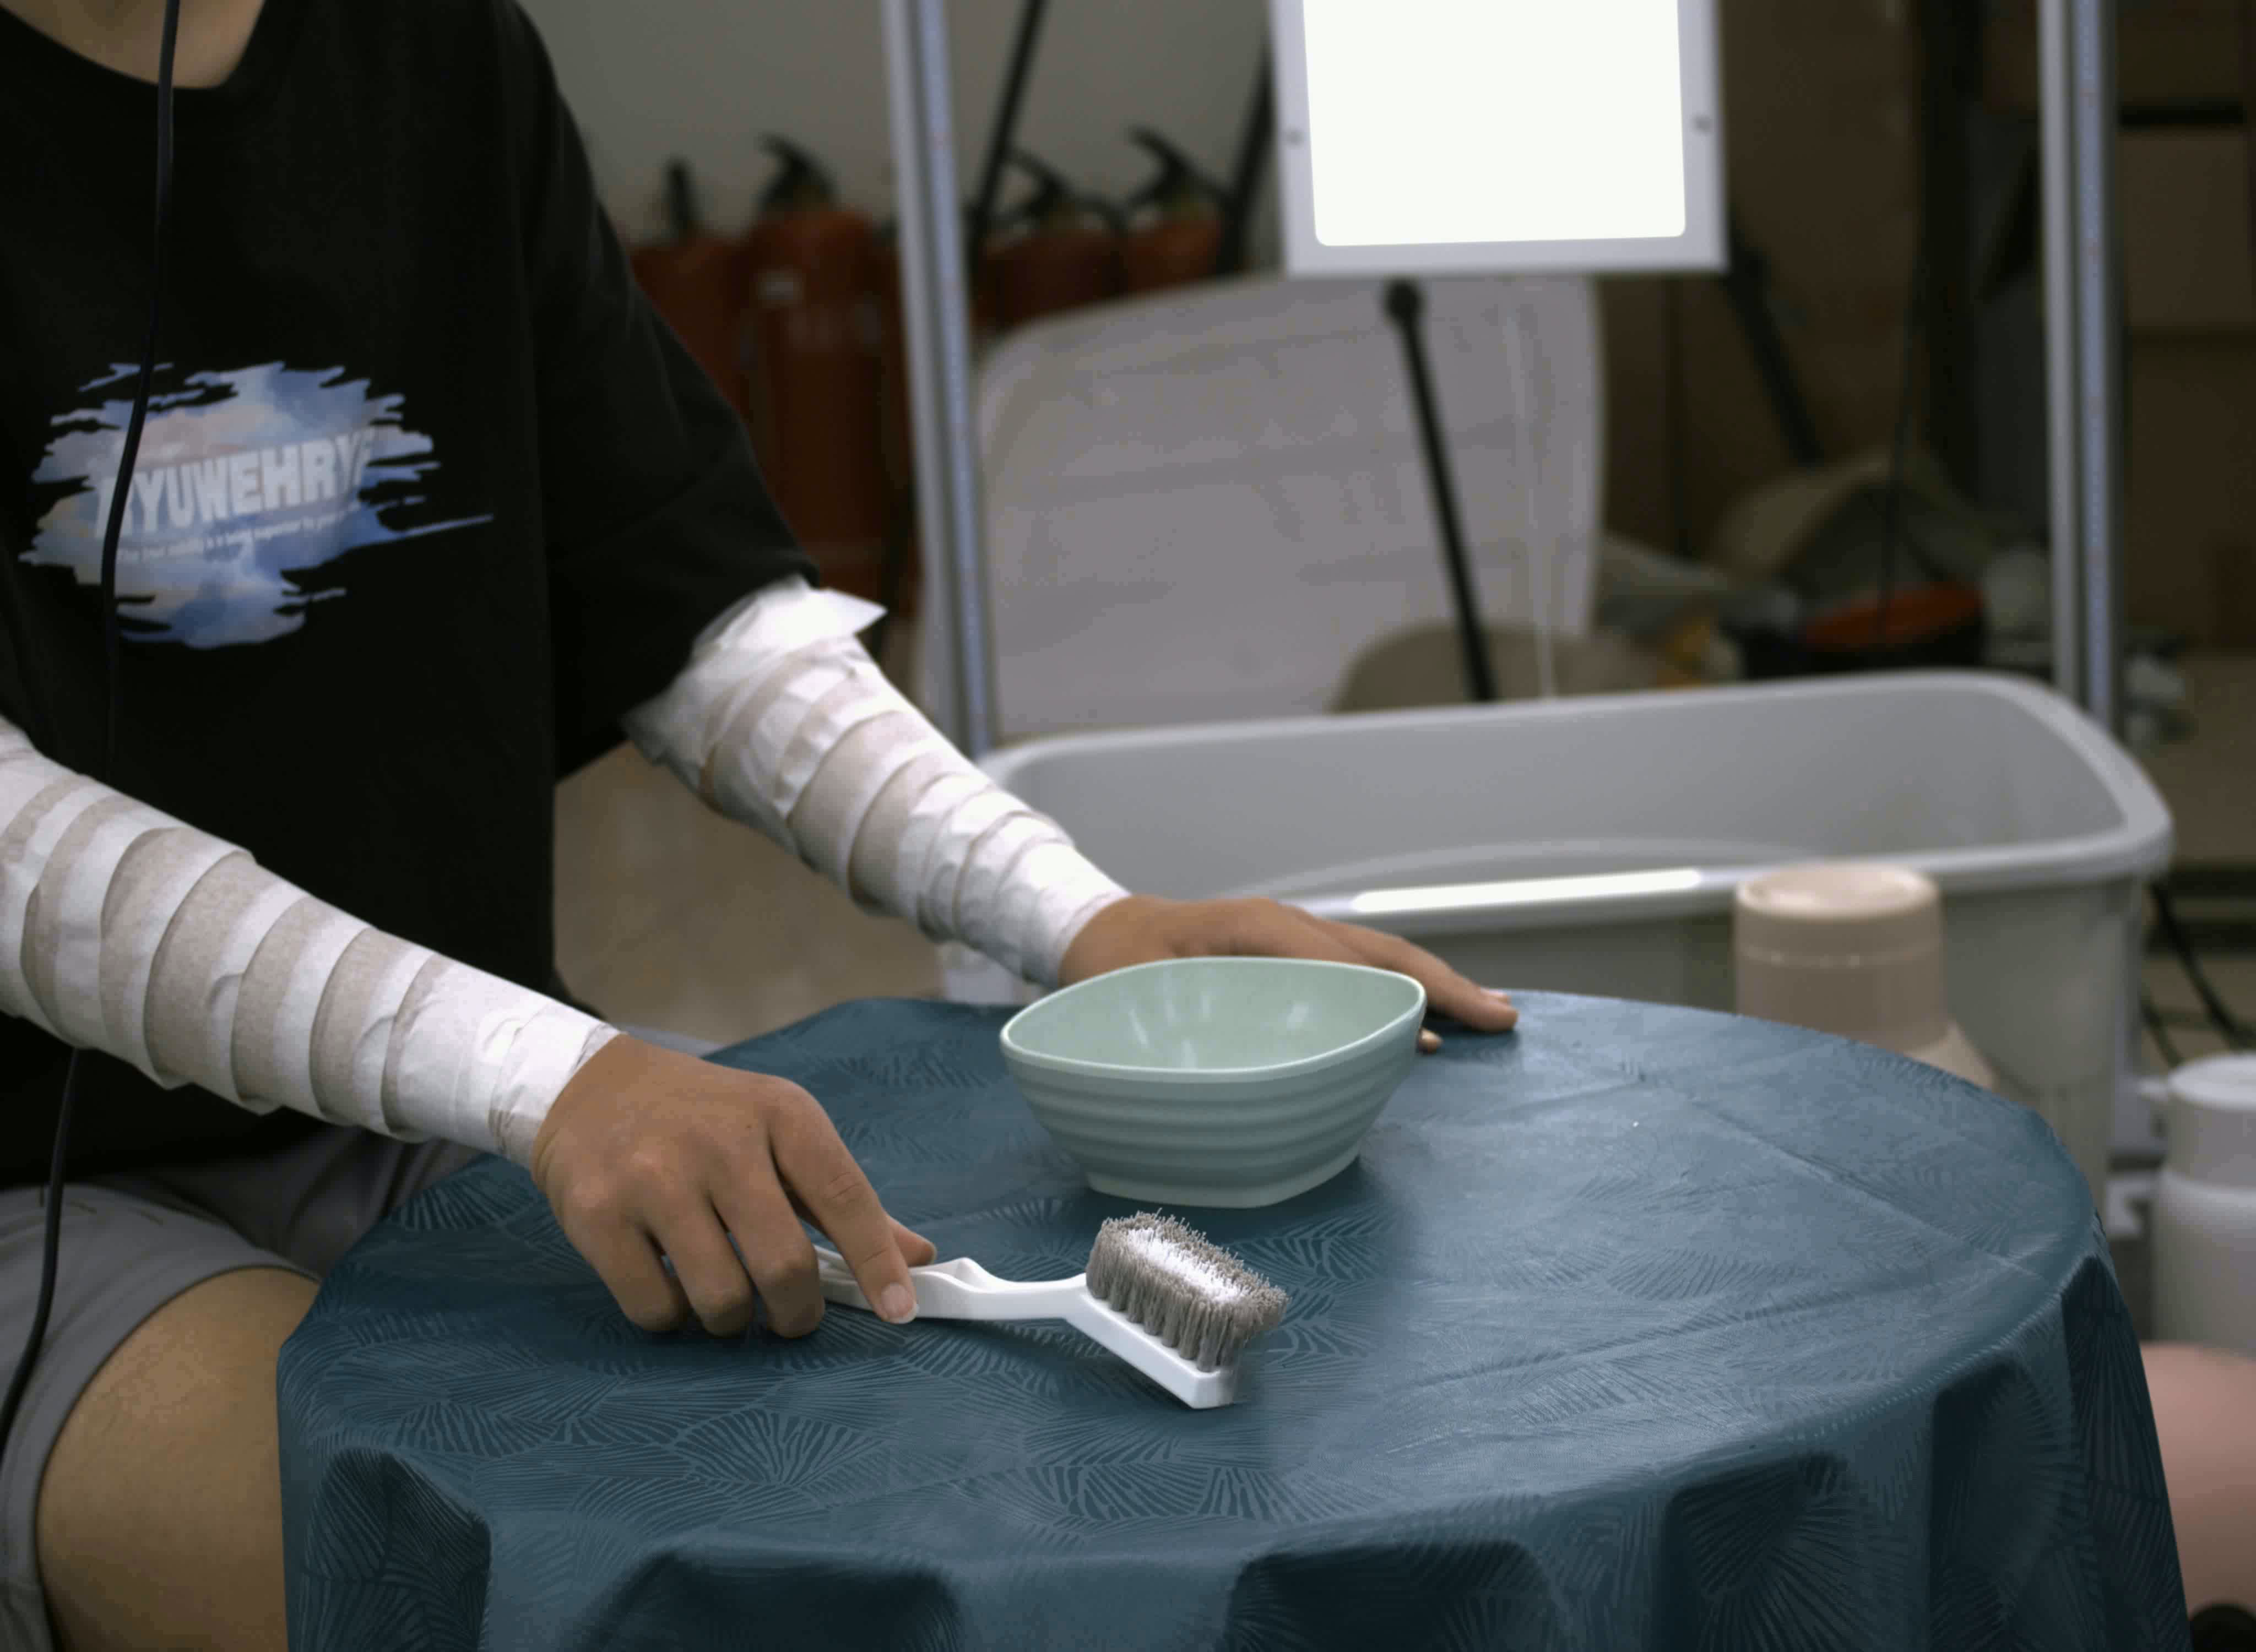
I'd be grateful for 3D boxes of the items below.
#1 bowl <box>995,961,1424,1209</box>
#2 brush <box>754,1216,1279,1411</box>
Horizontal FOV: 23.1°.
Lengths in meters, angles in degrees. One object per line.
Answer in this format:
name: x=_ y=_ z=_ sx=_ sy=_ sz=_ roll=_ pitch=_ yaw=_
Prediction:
bowl: x=0.030 y=0.092 z=1.909 sx=0.151 sy=0.059 sz=0.151 roll=-4 pitch=13 yaw=-1
brush: x=-0.042 y=0.138 z=1.761 sx=0.033 sy=0.050 sz=0.249 roll=-12 pitch=15 yaw=-38
